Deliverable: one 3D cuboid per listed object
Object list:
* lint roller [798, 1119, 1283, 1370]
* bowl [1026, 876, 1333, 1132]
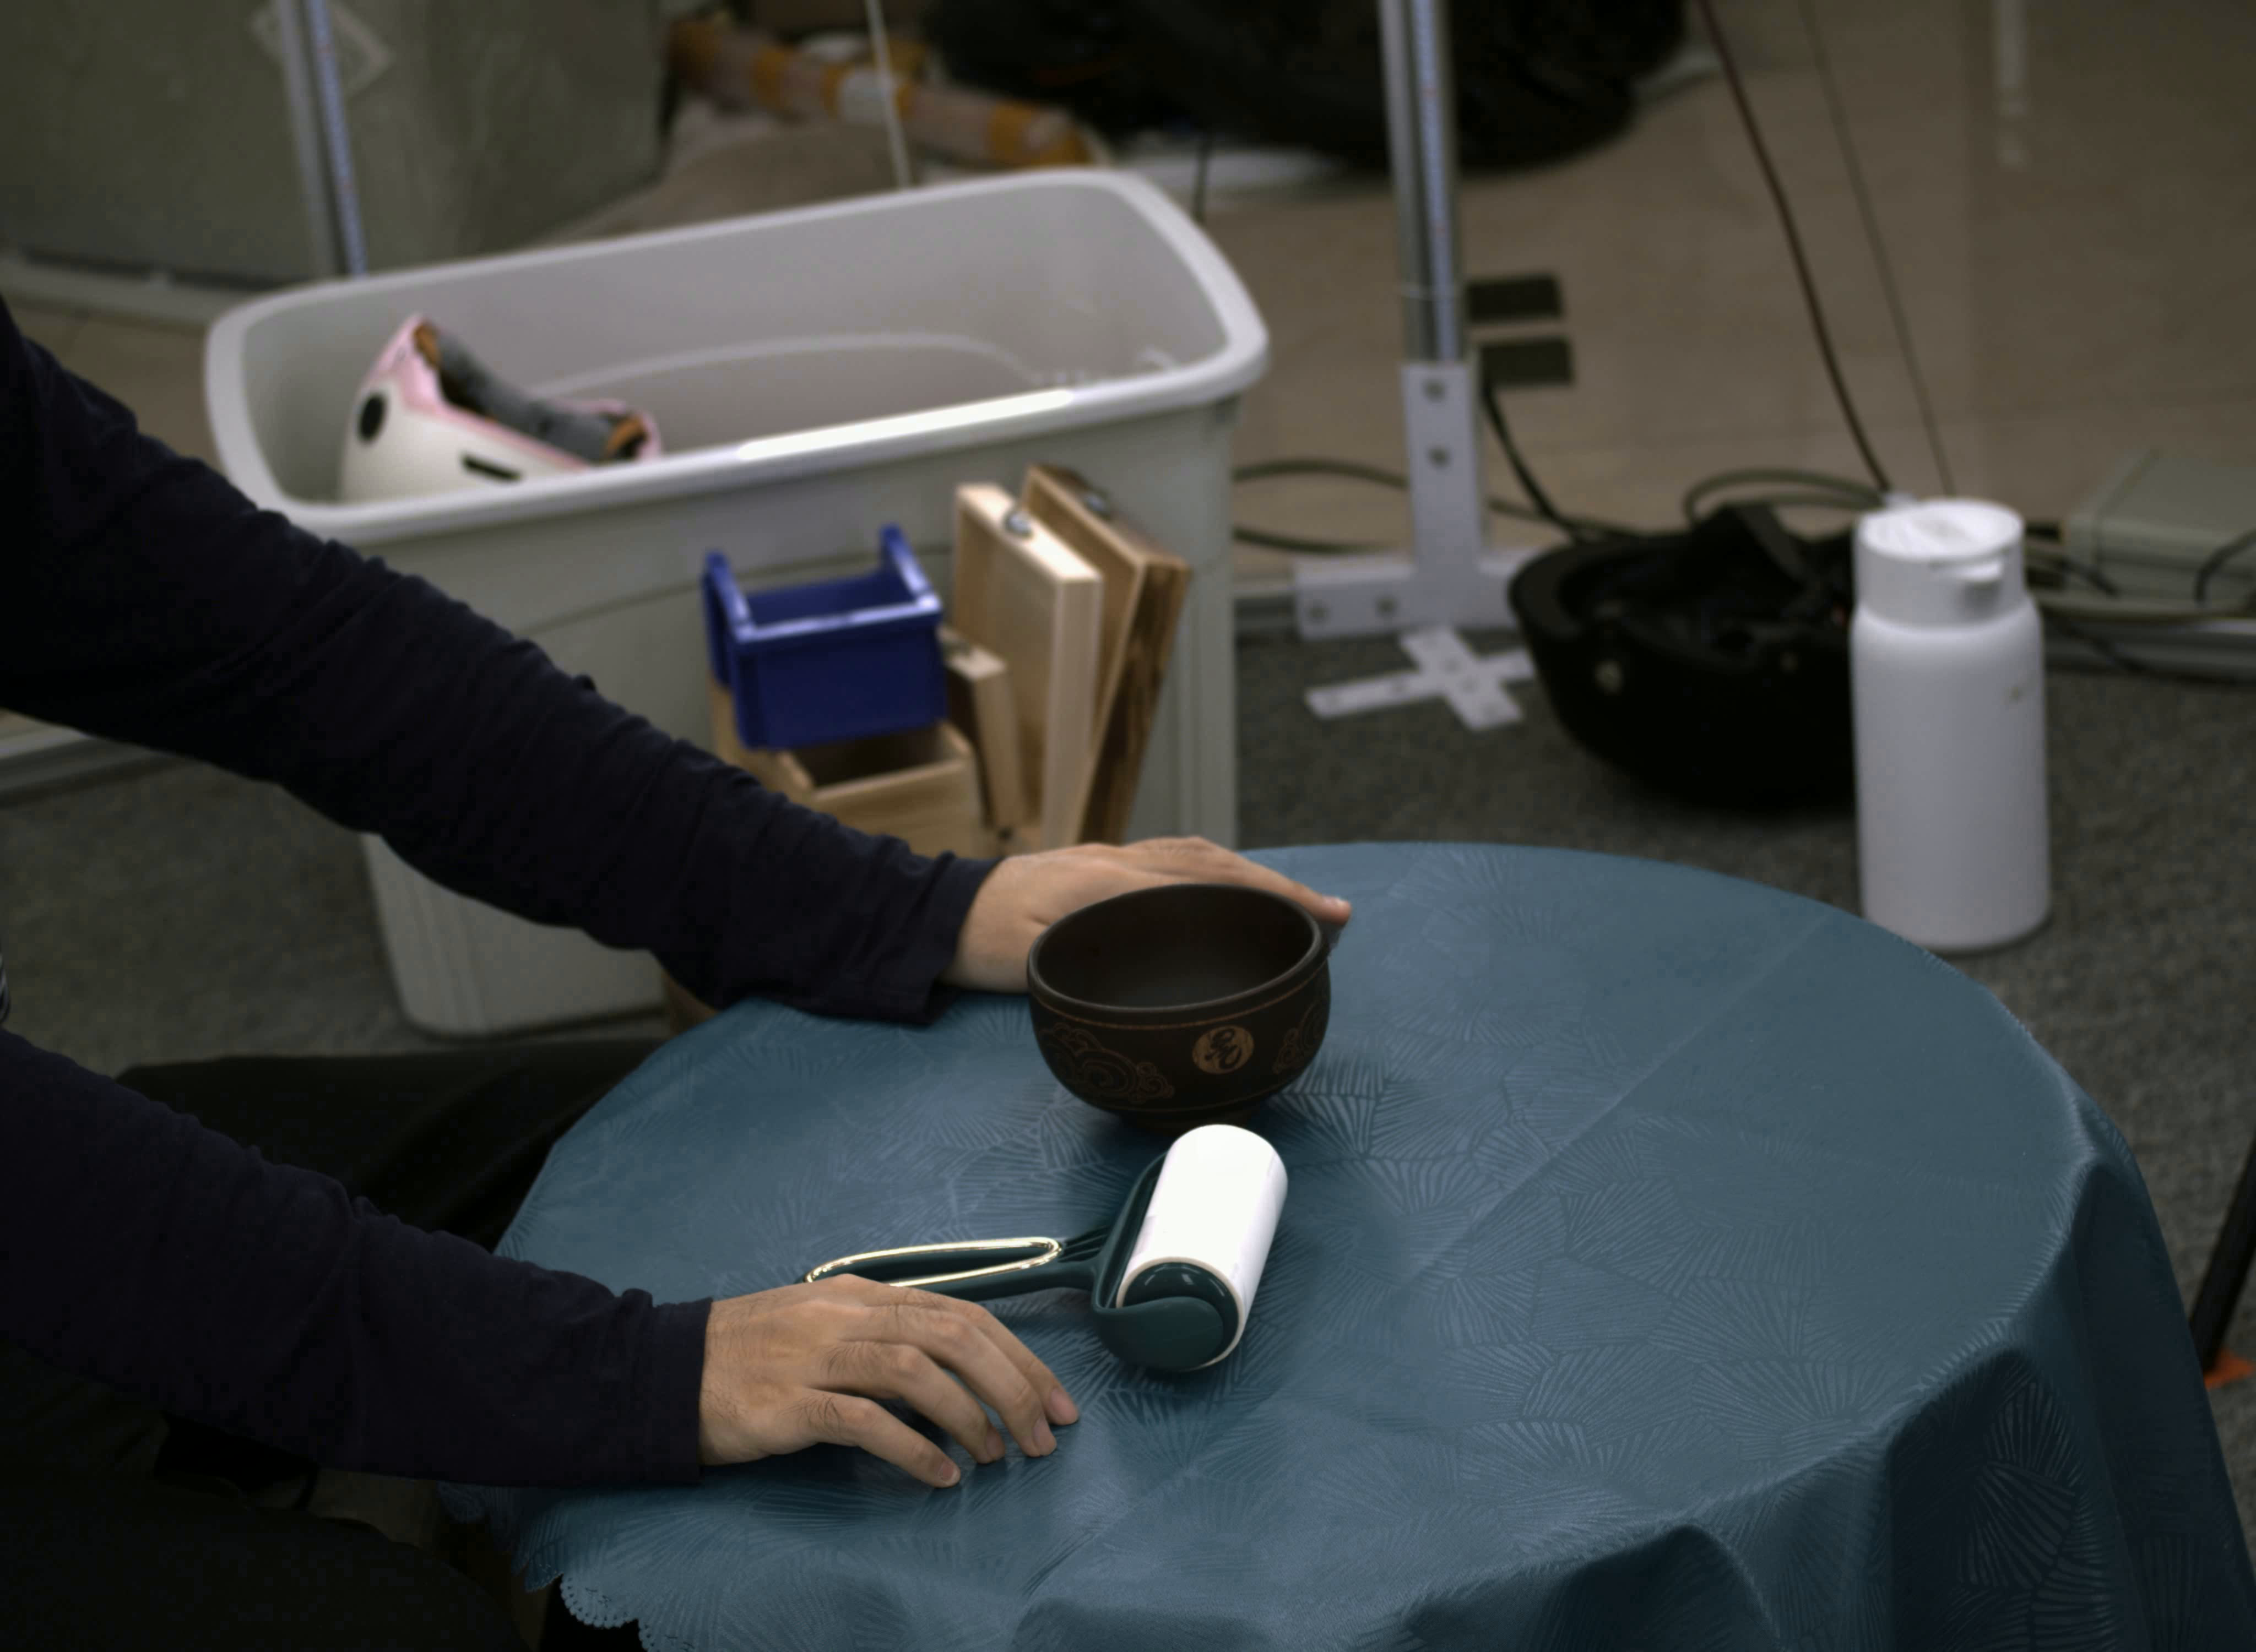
[{"bbox_3d":[-0.038,0.158,2.074,0.180,0.049,0.132,-4,25,13],"label":"lint roller"},{"bbox_3d":[0.022,0.075,2.198,0.118,0.071,0.116,-8,27,4],"label":"bowl"}]
